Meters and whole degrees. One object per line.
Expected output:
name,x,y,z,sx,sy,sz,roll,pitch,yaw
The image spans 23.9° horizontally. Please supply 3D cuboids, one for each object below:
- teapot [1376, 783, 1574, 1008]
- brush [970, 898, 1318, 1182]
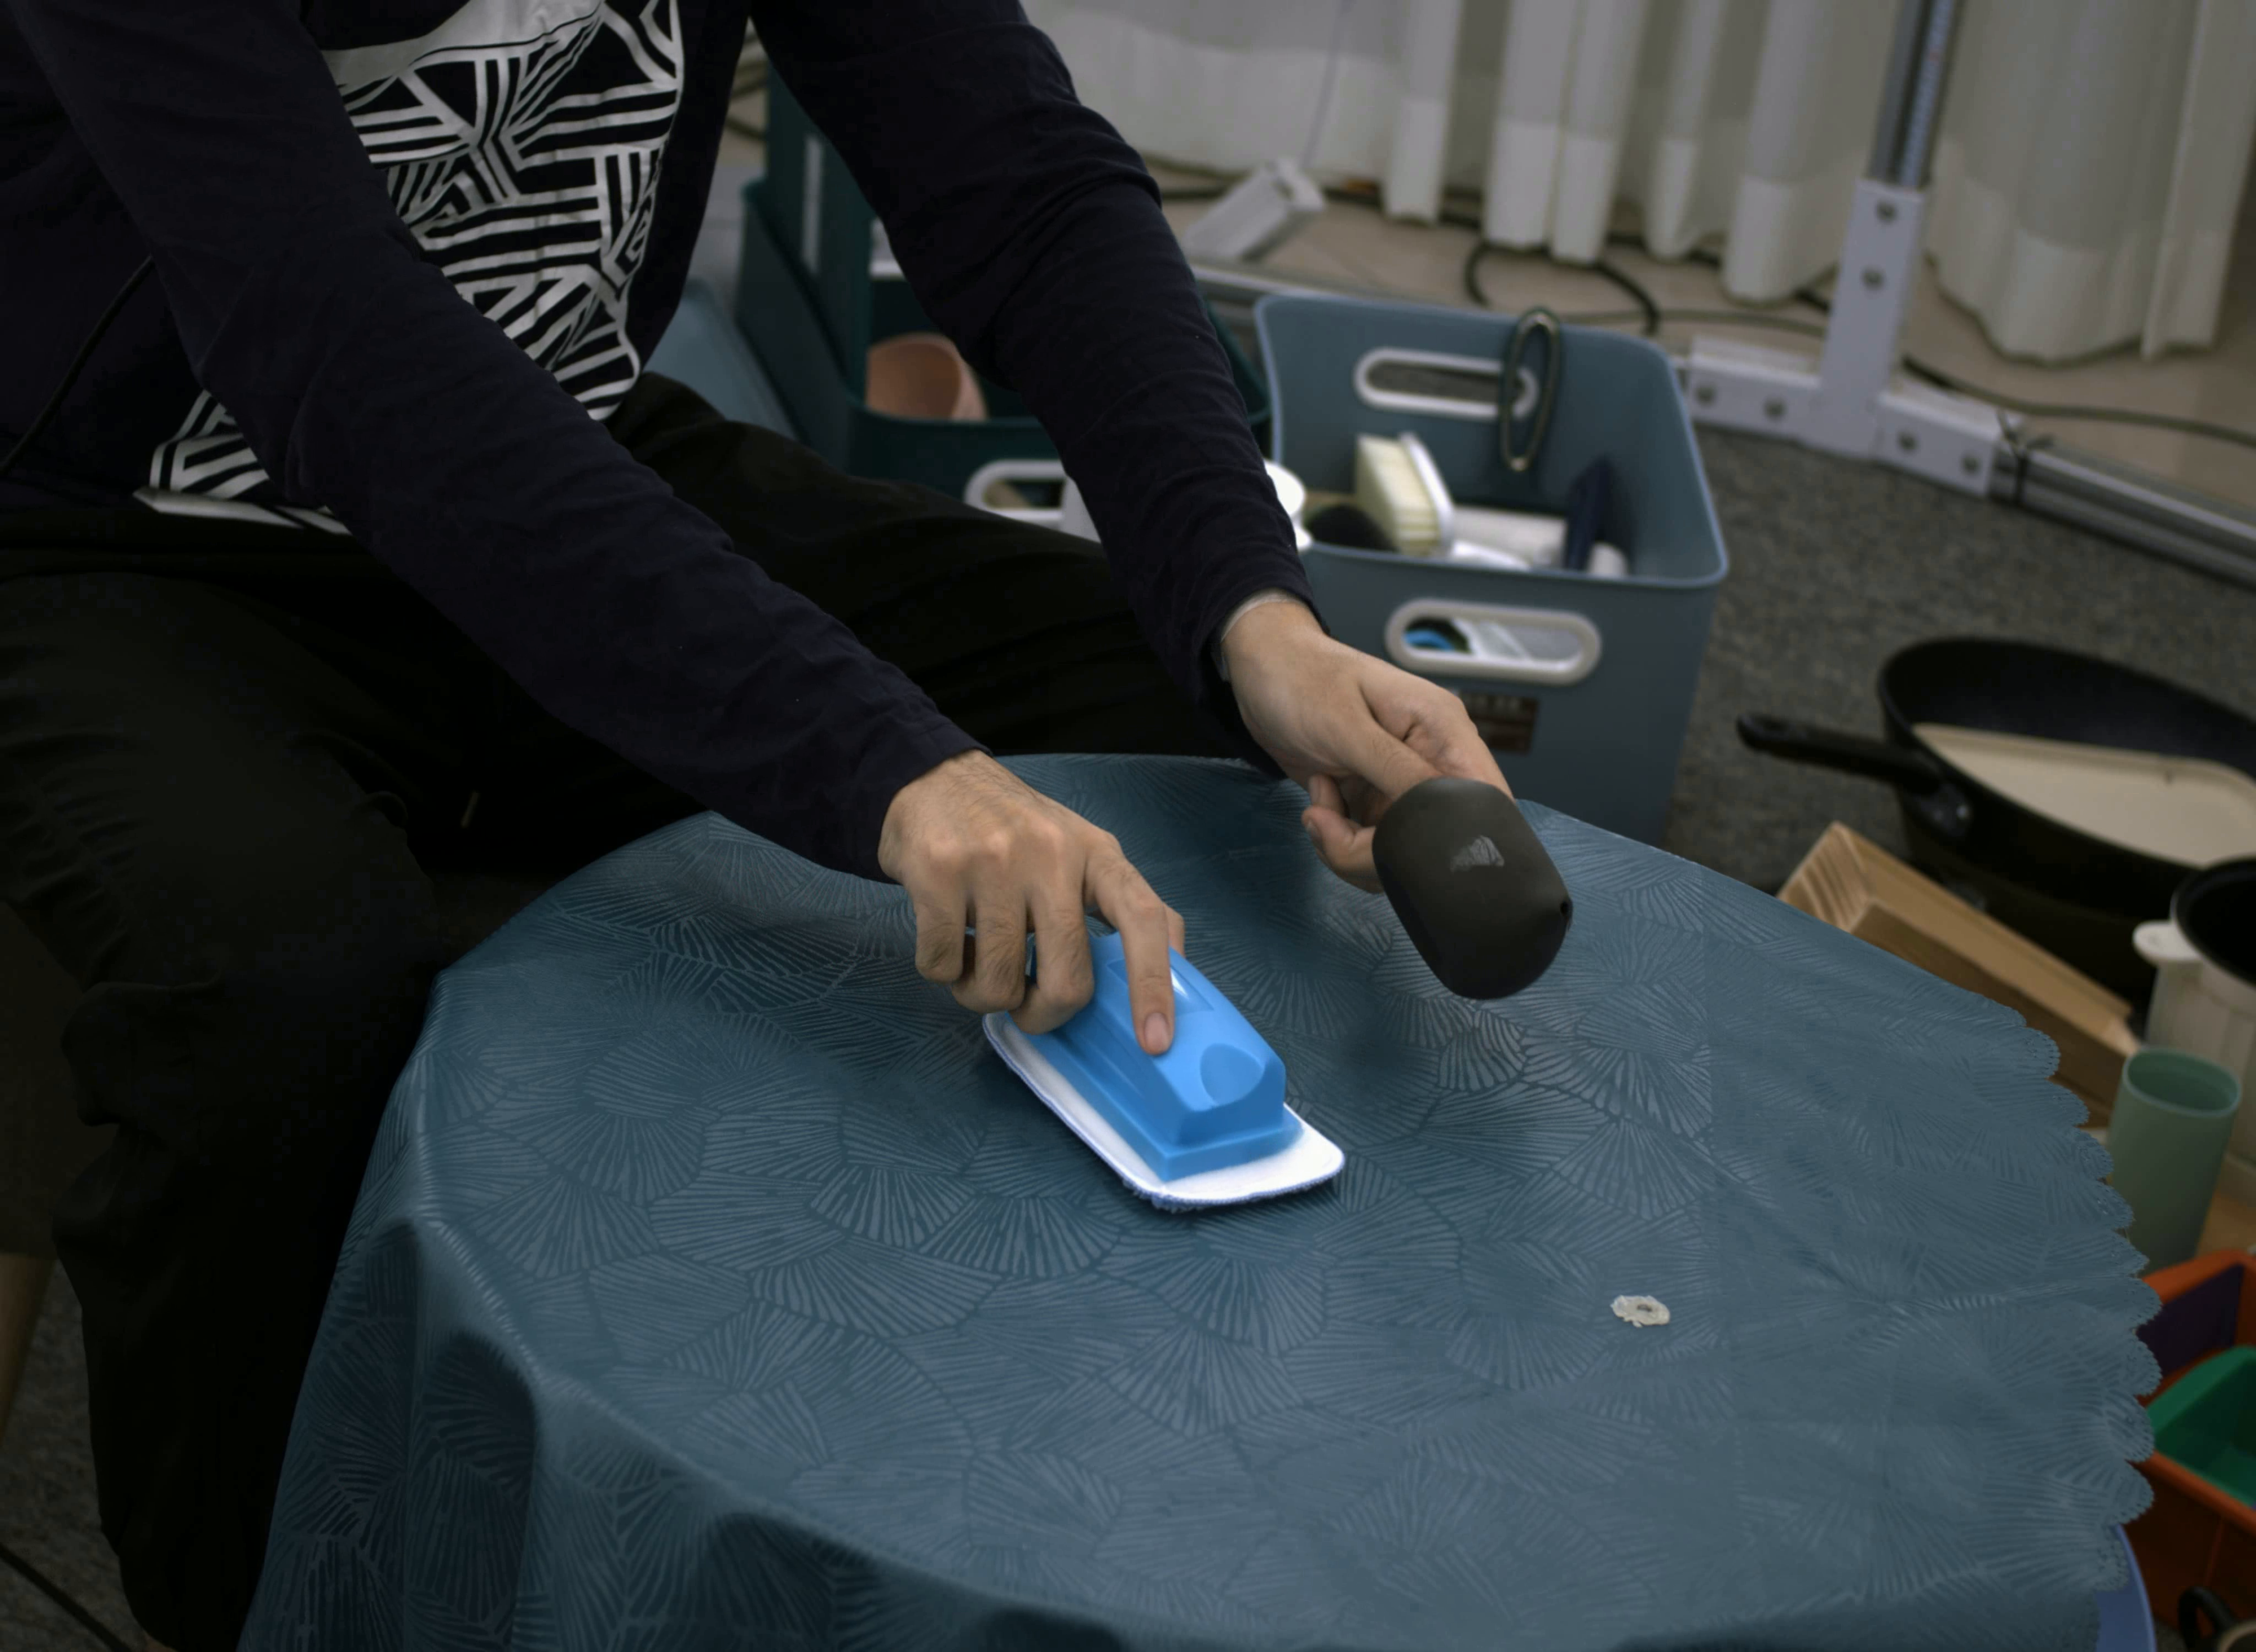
teapot,0.121,0.020,1.908,0.053,0.082,0.115,-27,24,-3
brush,0.008,0.070,1.846,0.083,0.056,0.145,-5,32,-27
